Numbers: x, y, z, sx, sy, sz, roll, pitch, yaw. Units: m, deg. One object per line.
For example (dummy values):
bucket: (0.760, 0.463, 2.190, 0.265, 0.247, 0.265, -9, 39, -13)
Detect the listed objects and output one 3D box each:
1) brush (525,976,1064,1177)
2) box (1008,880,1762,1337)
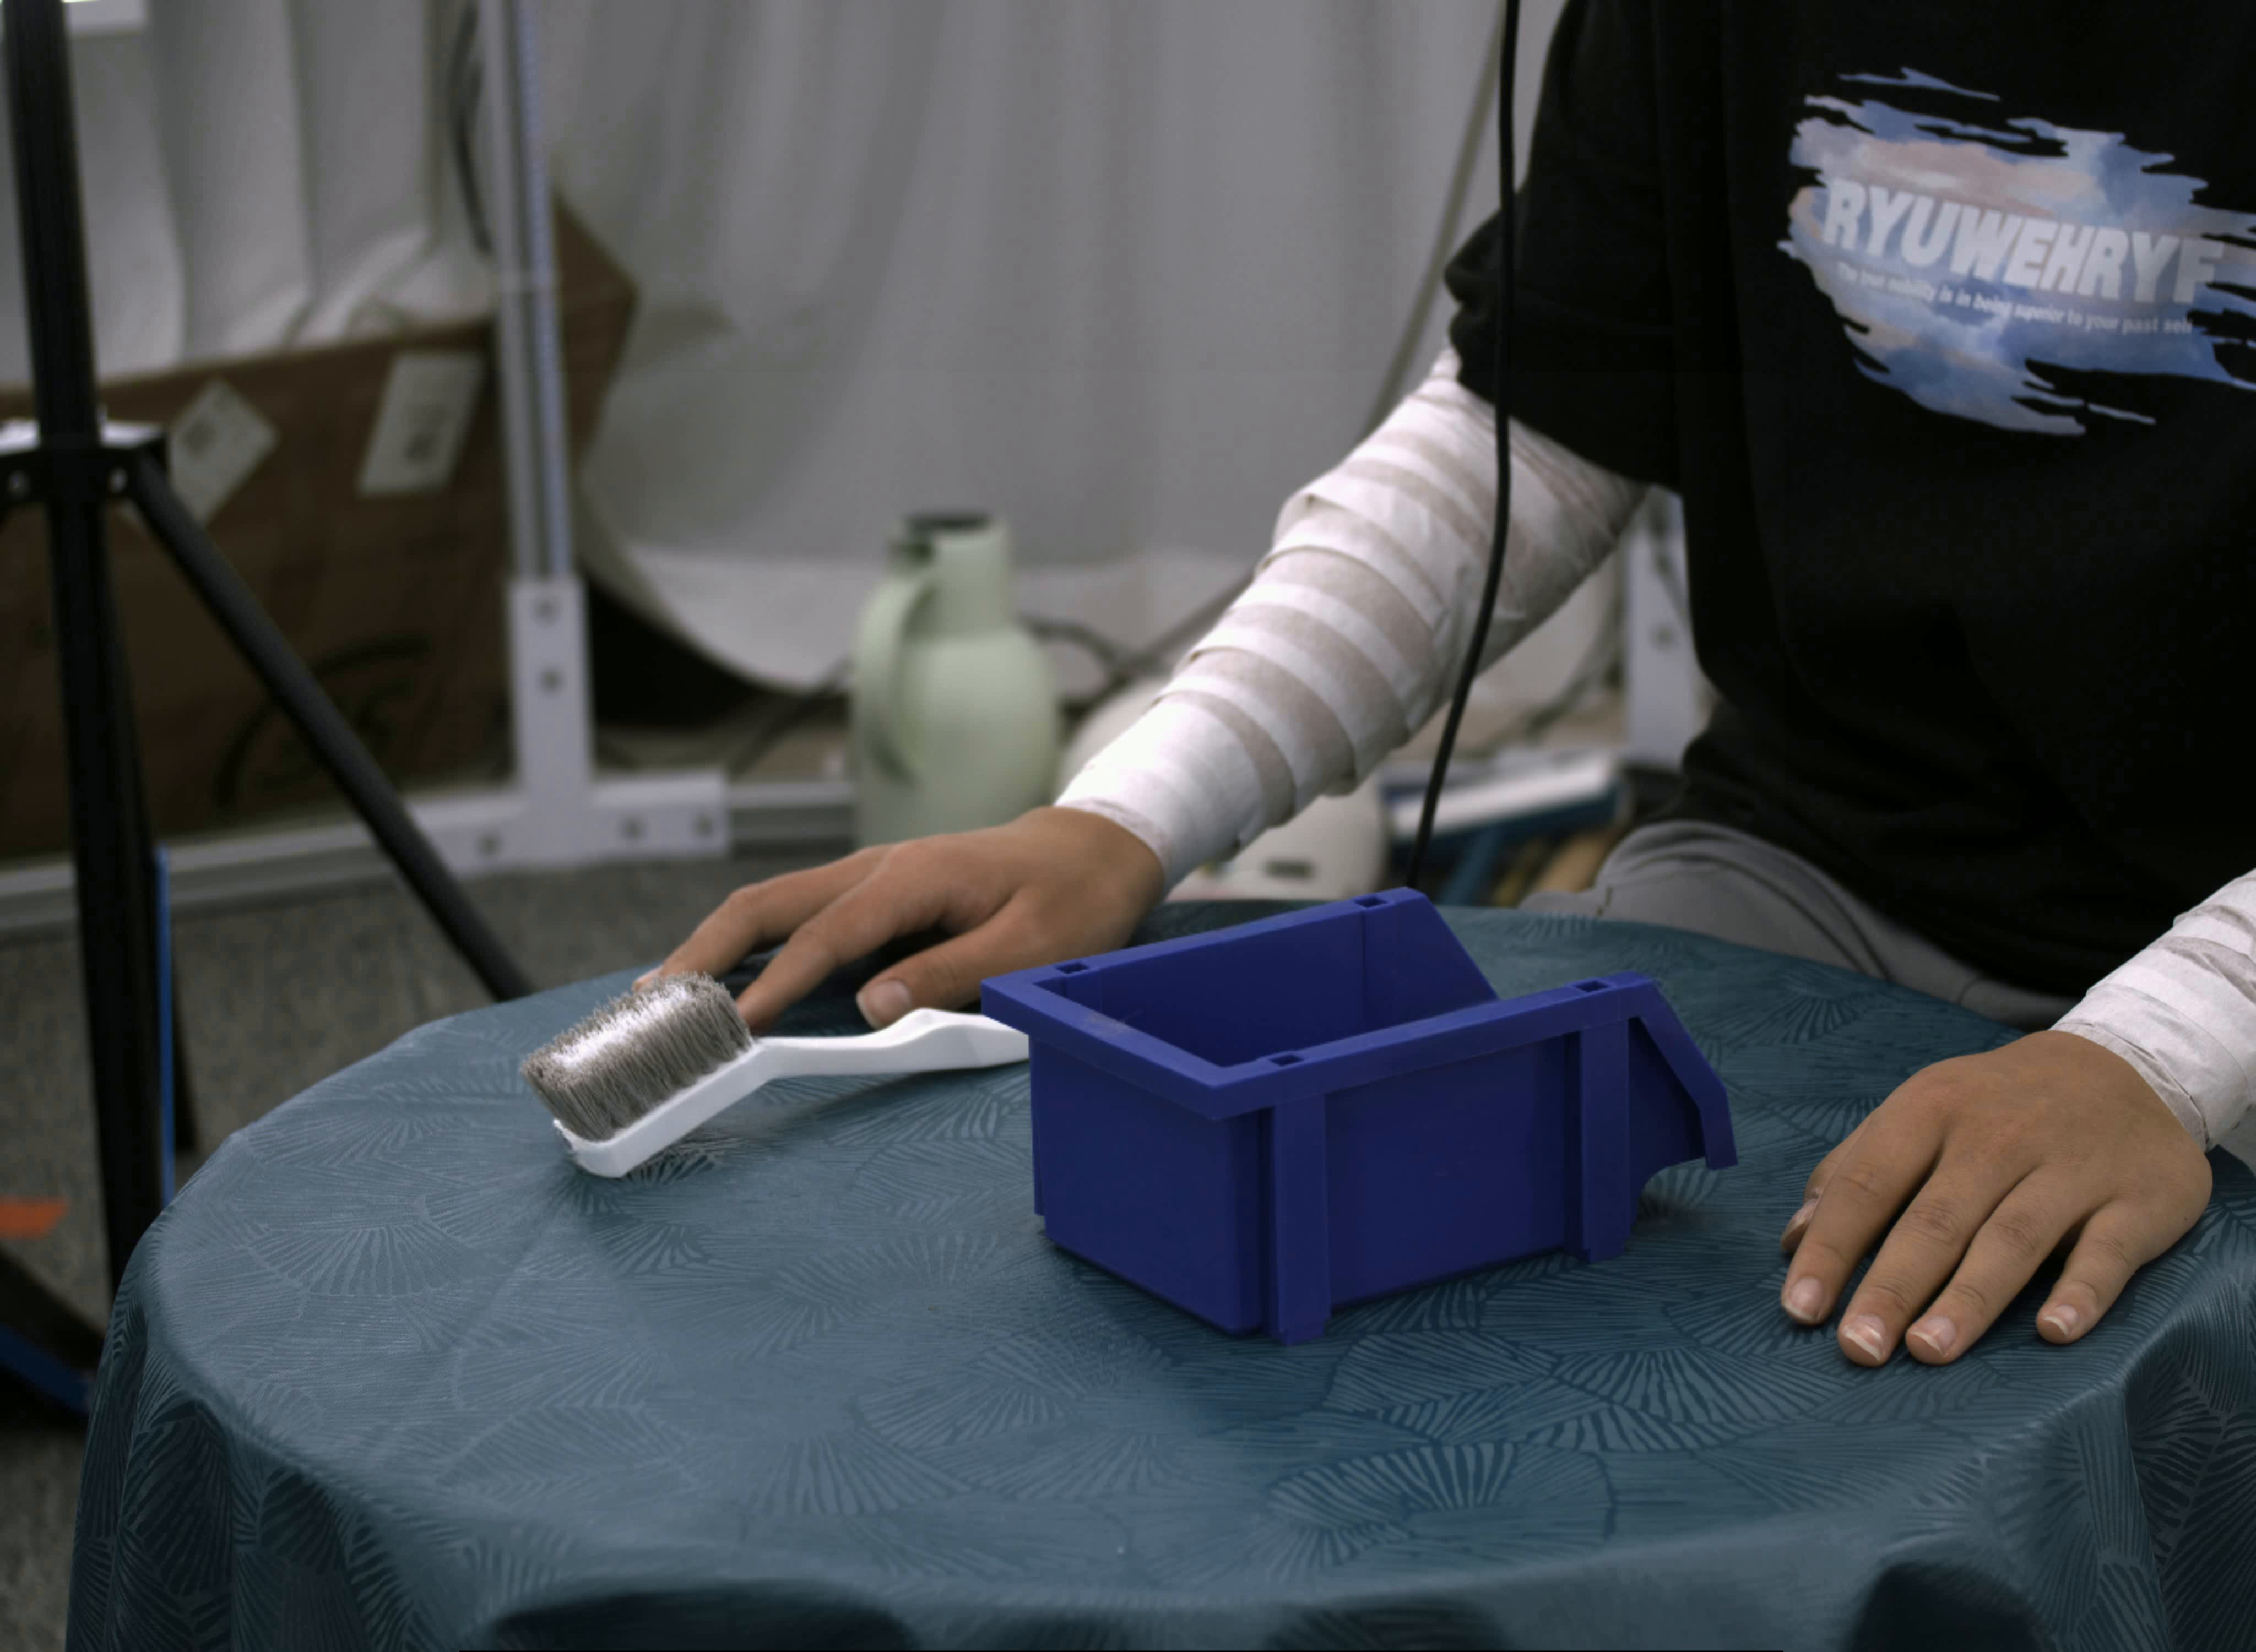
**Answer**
brush: (-0.077, 0.059, 1.654, 0.238, 0.050, 0.035, -14, 19, -33)
box: (0.073, 0.076, 1.512, 0.175, 0.082, 0.127, -12, 18, -28)
